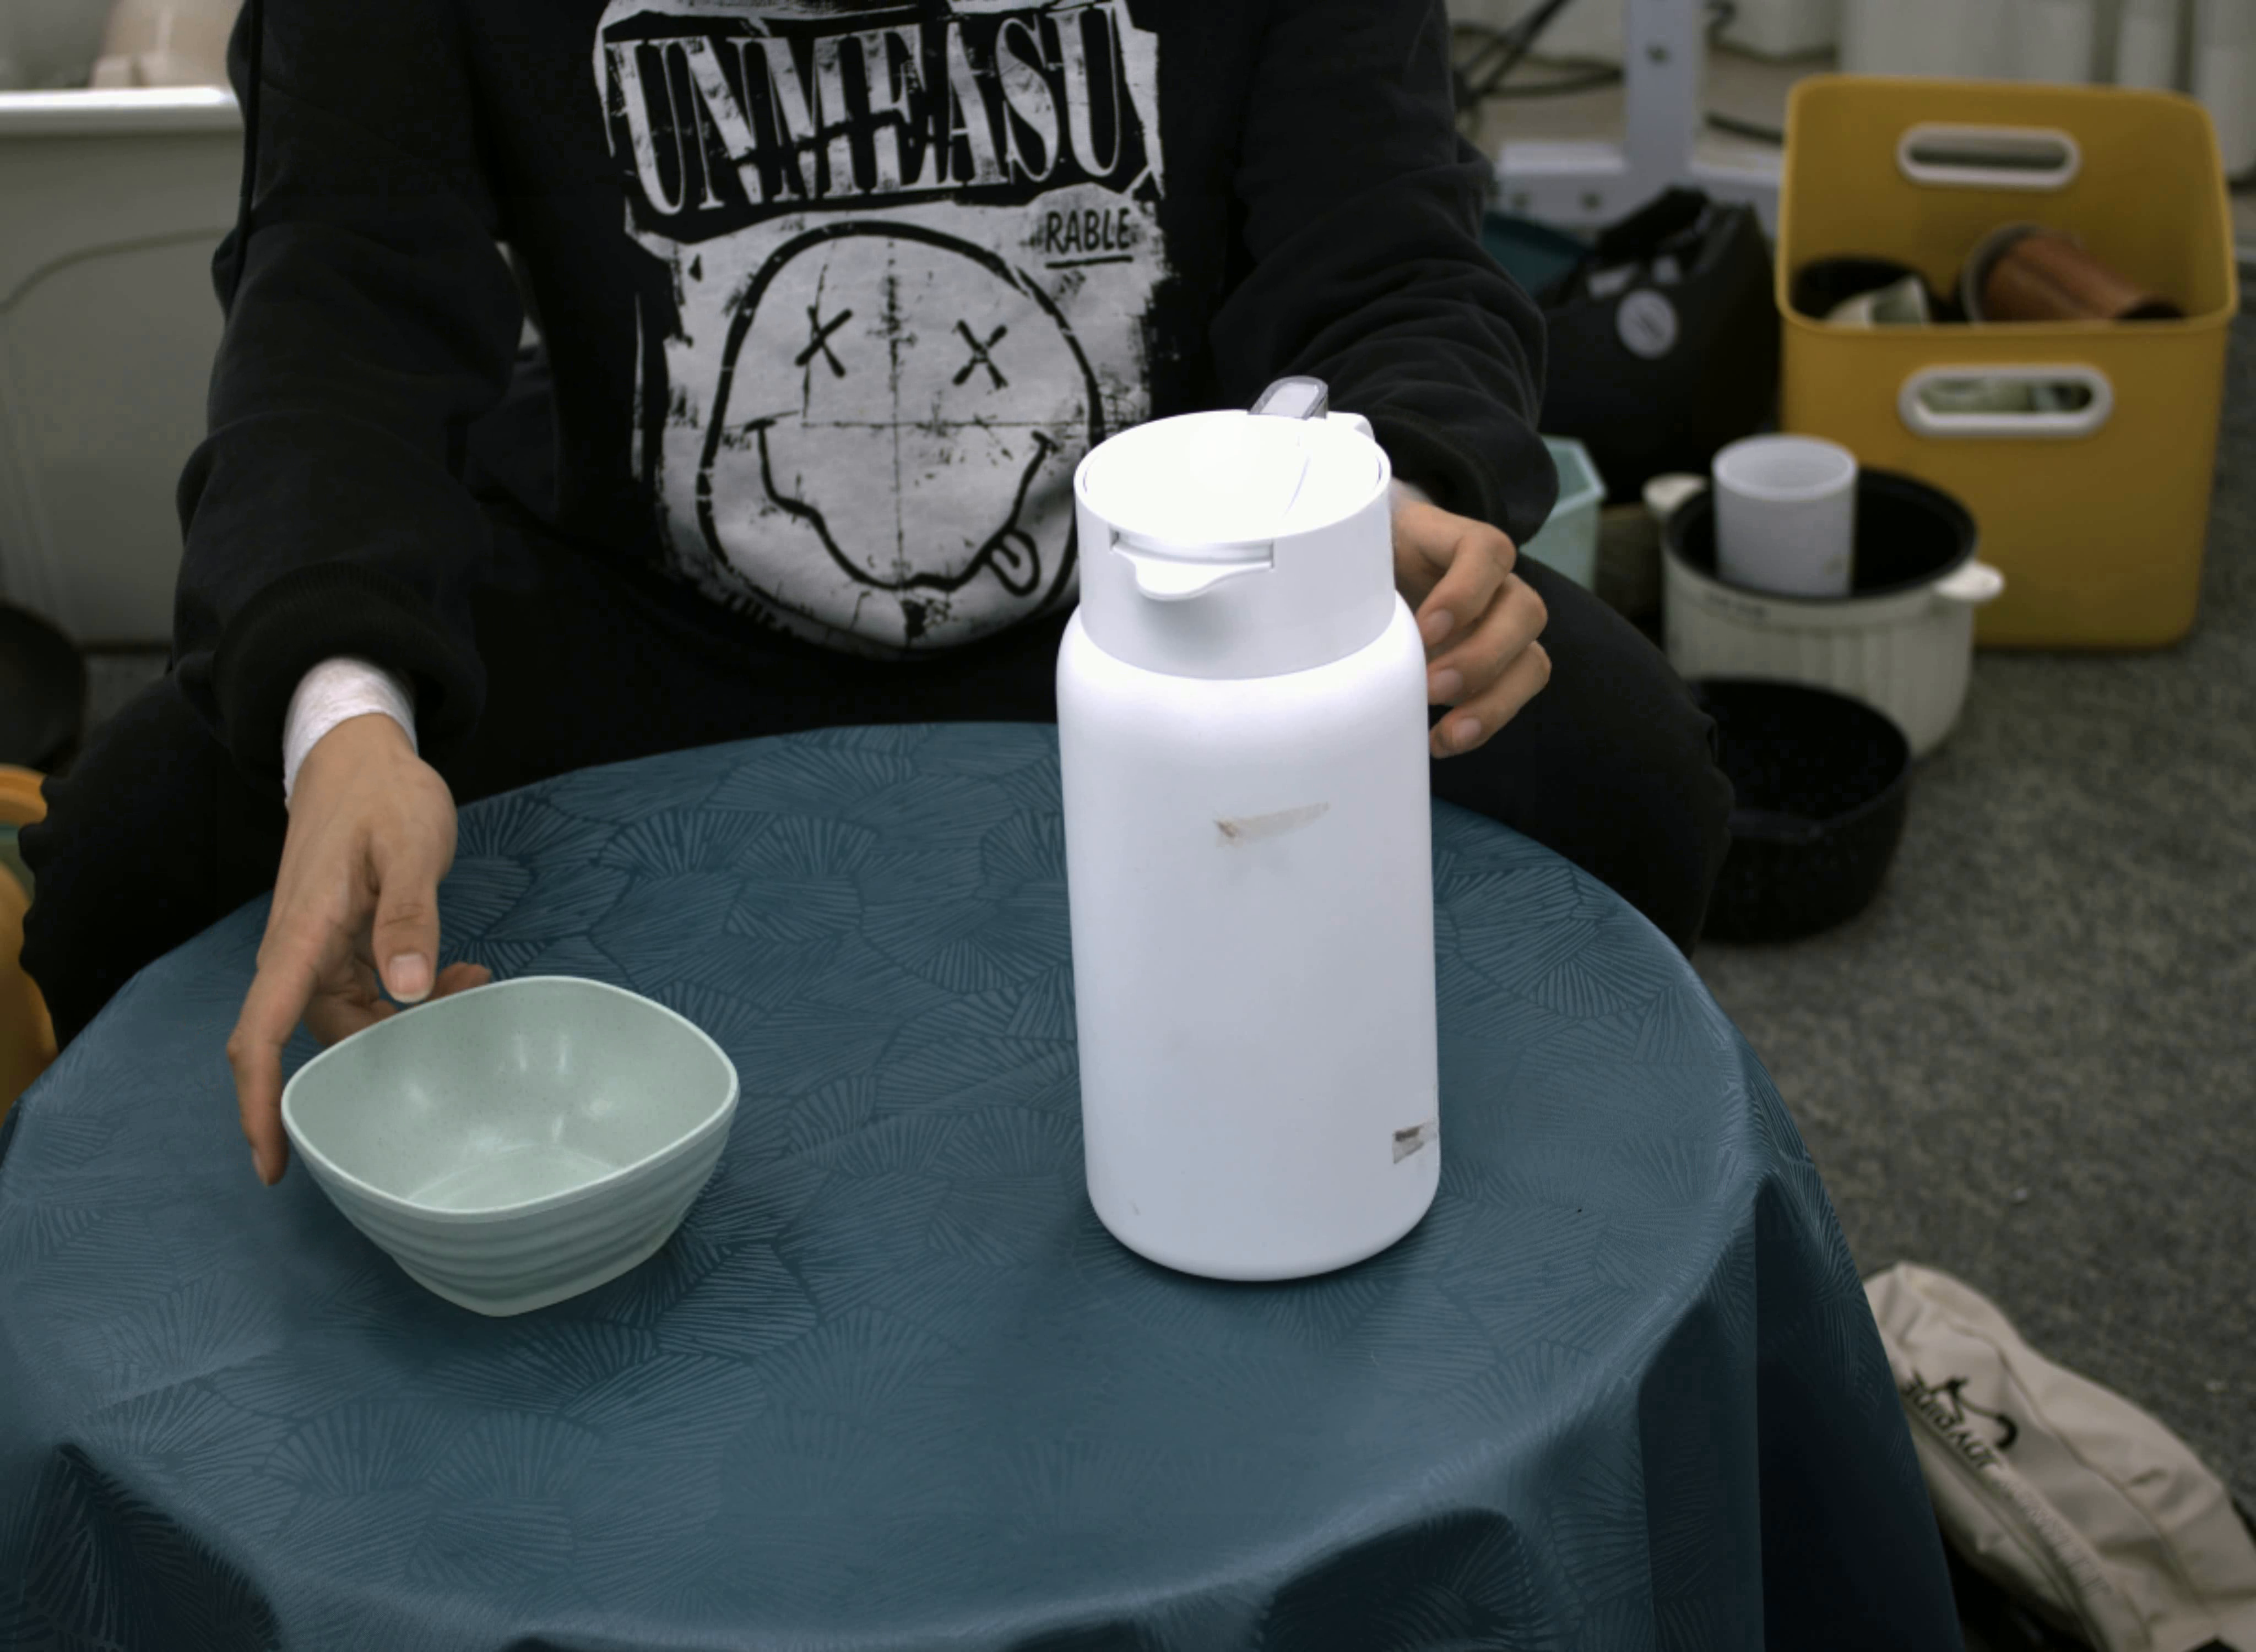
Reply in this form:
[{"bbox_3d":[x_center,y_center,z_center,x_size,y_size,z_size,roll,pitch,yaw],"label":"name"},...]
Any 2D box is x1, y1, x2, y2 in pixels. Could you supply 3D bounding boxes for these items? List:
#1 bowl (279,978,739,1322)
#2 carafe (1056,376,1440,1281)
[{"bbox_3d":[-0.200,0.112,1.839,0.151,0.058,0.154,-2,27,1],"label":"bowl"},{"bbox_3d":[0.042,-0.003,1.809,0.123,0.266,0.176,4,27,18],"label":"carafe"}]
